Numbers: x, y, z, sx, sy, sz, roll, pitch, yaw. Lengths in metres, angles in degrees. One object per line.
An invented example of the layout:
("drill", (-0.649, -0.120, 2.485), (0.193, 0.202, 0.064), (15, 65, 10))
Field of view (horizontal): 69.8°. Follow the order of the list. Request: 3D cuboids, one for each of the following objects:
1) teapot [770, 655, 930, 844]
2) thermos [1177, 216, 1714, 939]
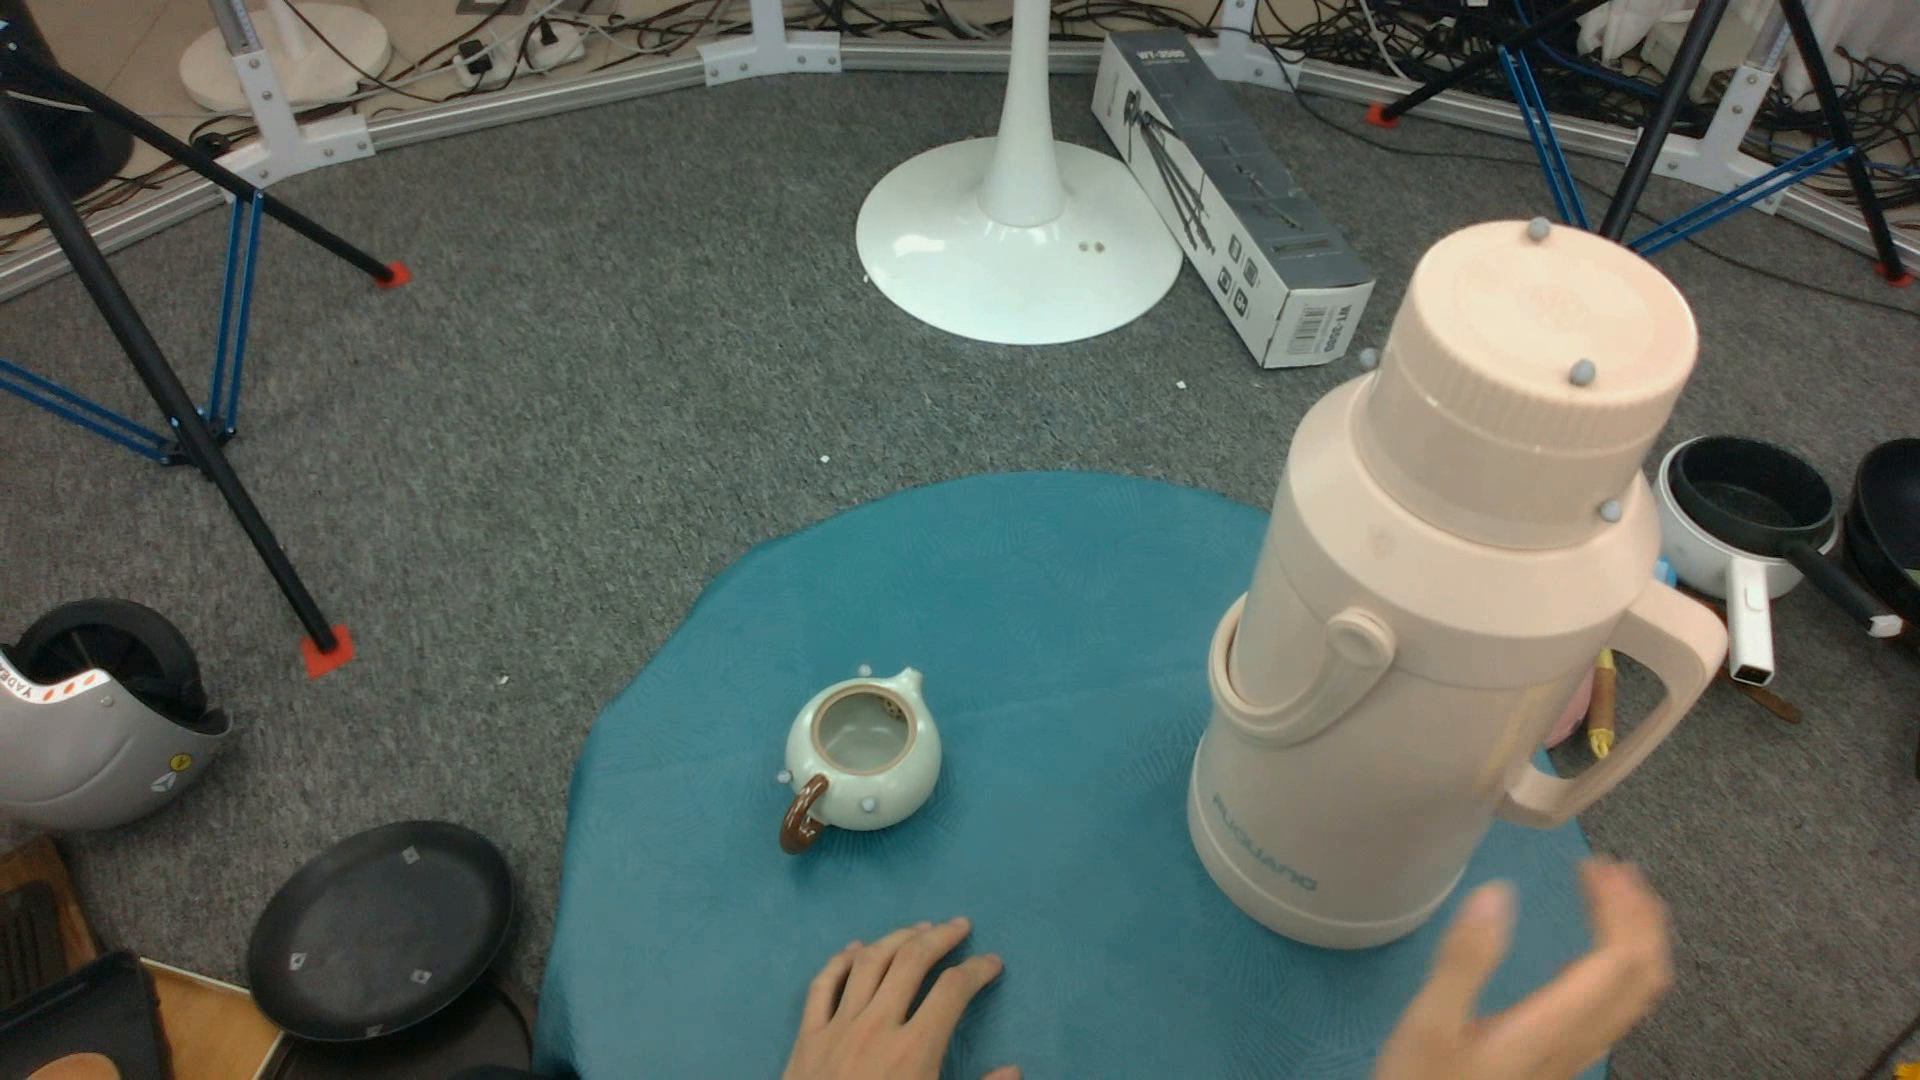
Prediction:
("teapot", (-0.068, 0.125, 0.803), (0.092, 0.059, 0.128), (29, 54, 16))
("thermos", (0.224, 0.046, 0.666), (0.207, 0.404, 0.176), (33, 55, 23))
